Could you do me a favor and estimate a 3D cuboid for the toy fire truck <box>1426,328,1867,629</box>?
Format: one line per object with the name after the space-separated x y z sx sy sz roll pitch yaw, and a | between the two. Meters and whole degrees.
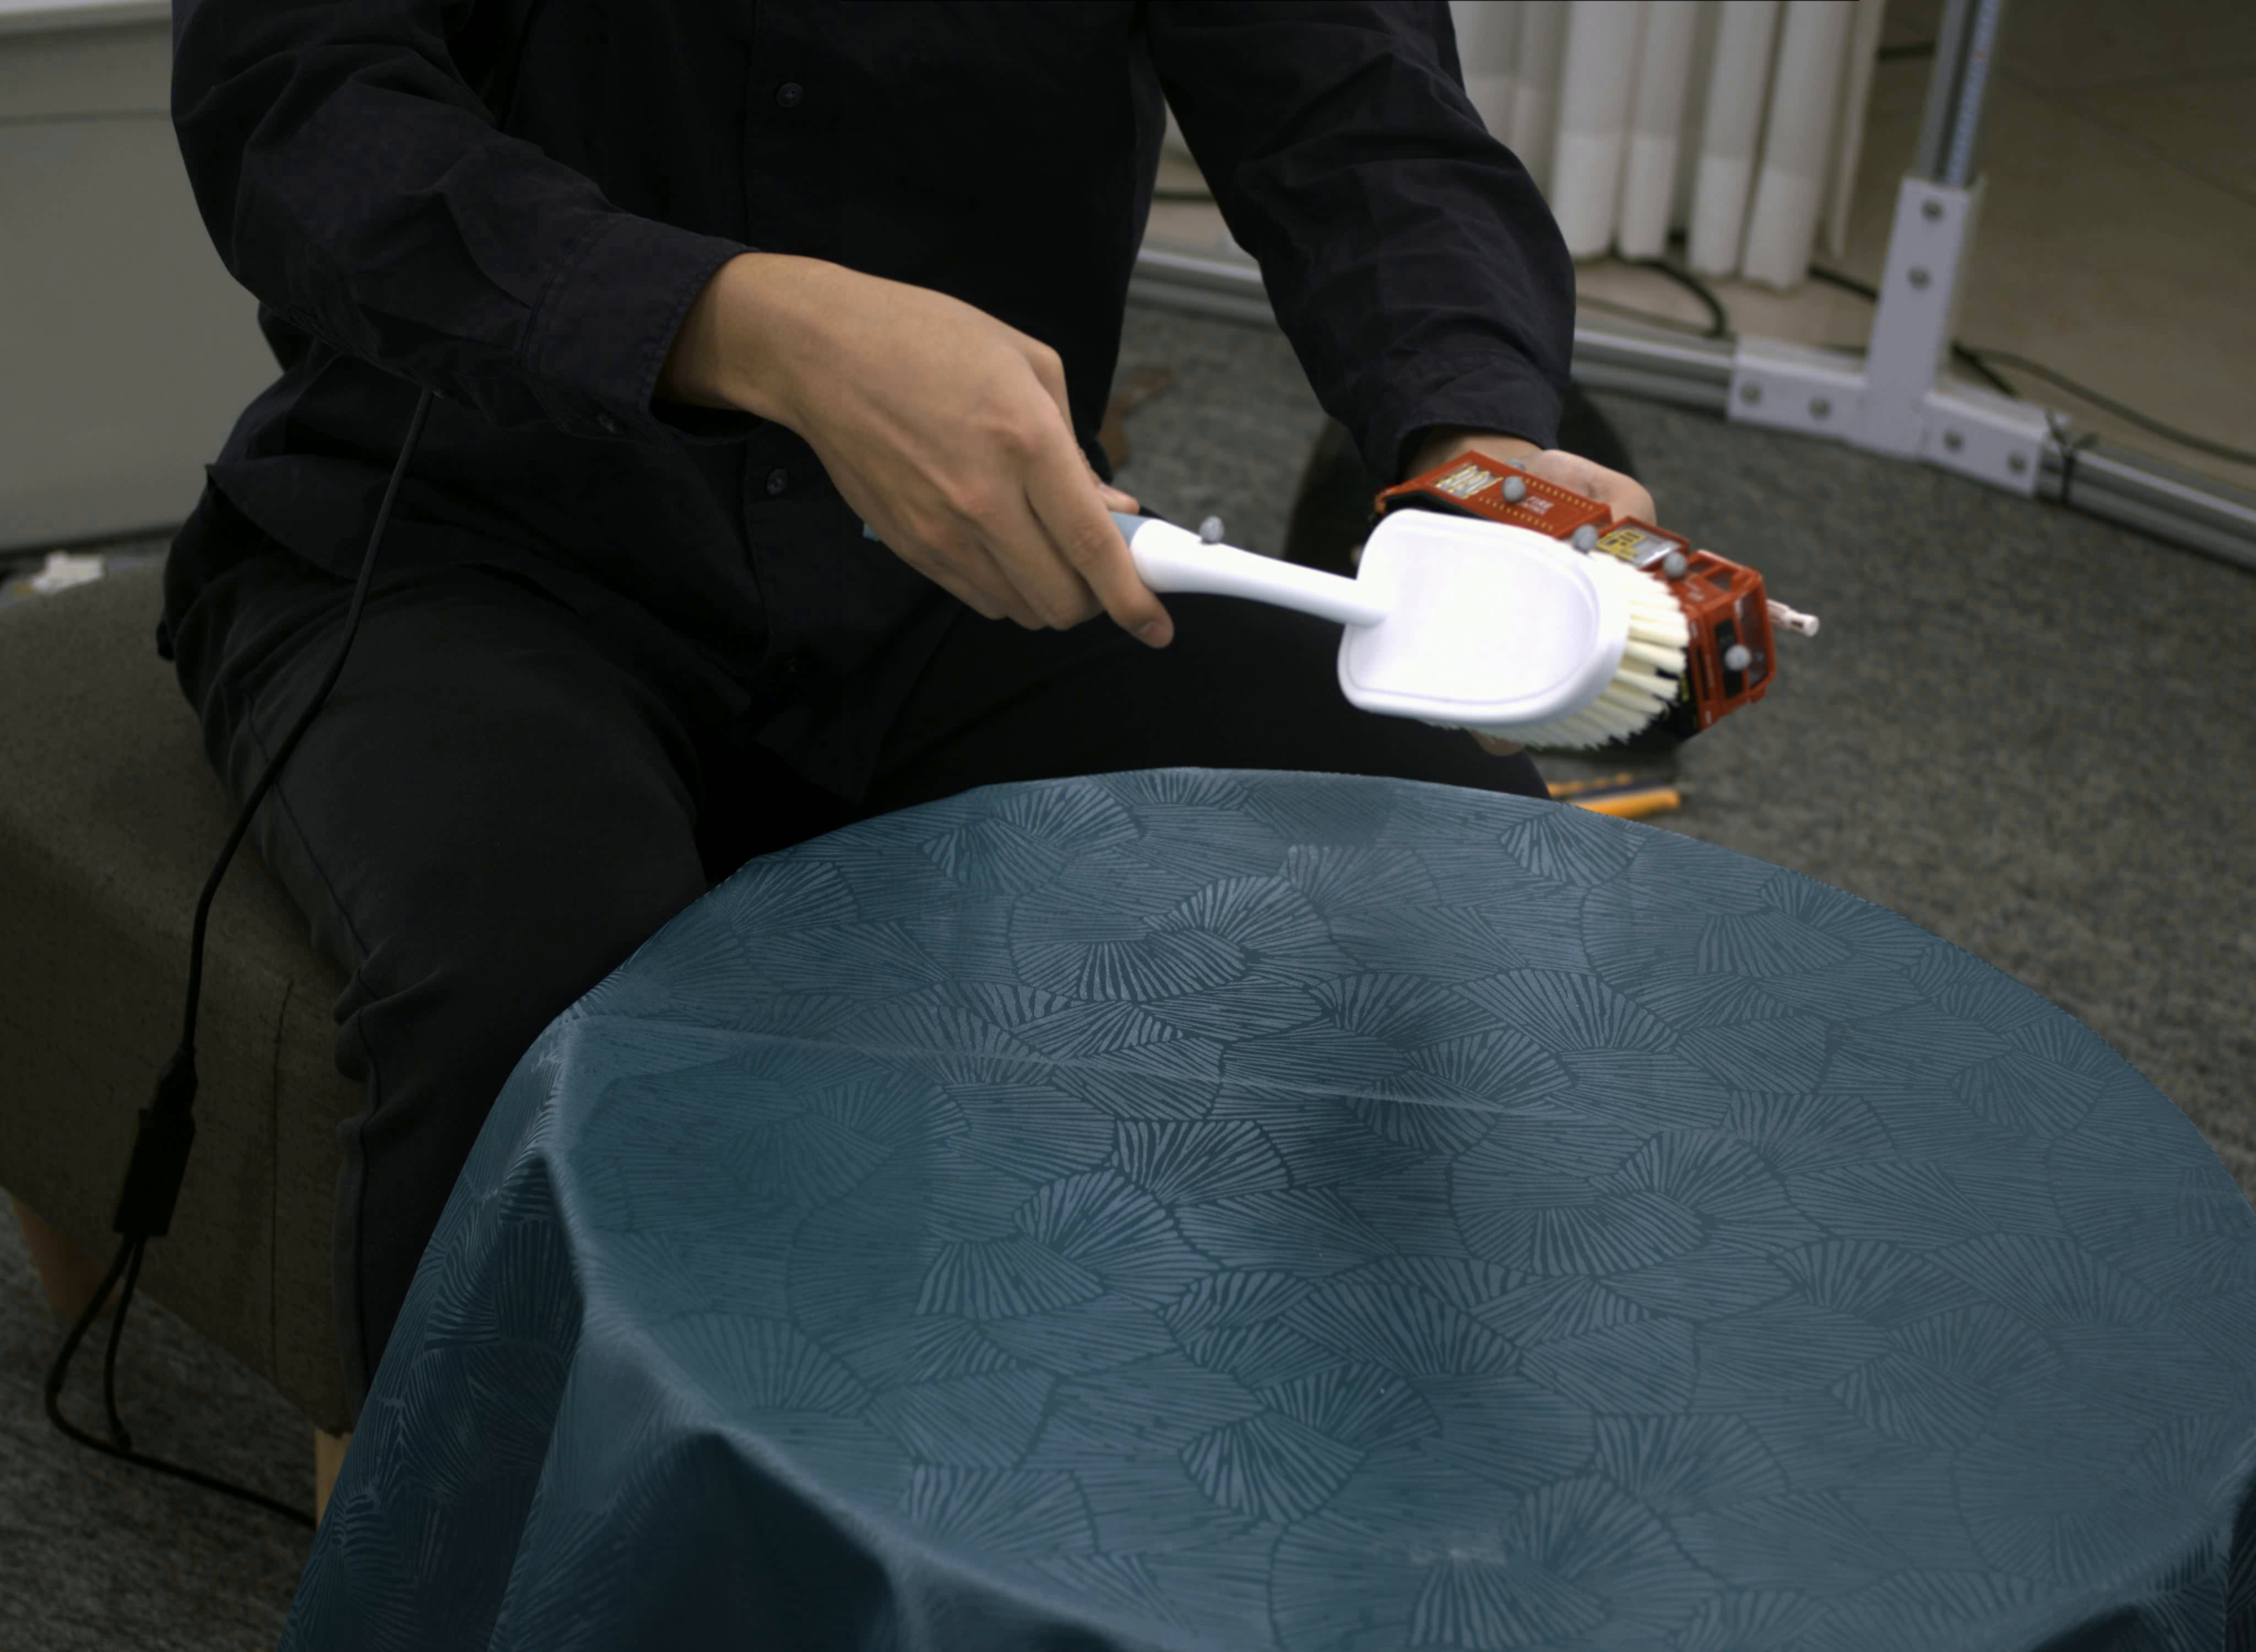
0.166 -0.118 1.784 0.070 0.053 0.169 -29 33 -25 | toy fire truck

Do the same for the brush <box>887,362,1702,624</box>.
0.059 -0.124 1.807 0.327 0.084 0.083 13 52 38 | brush
